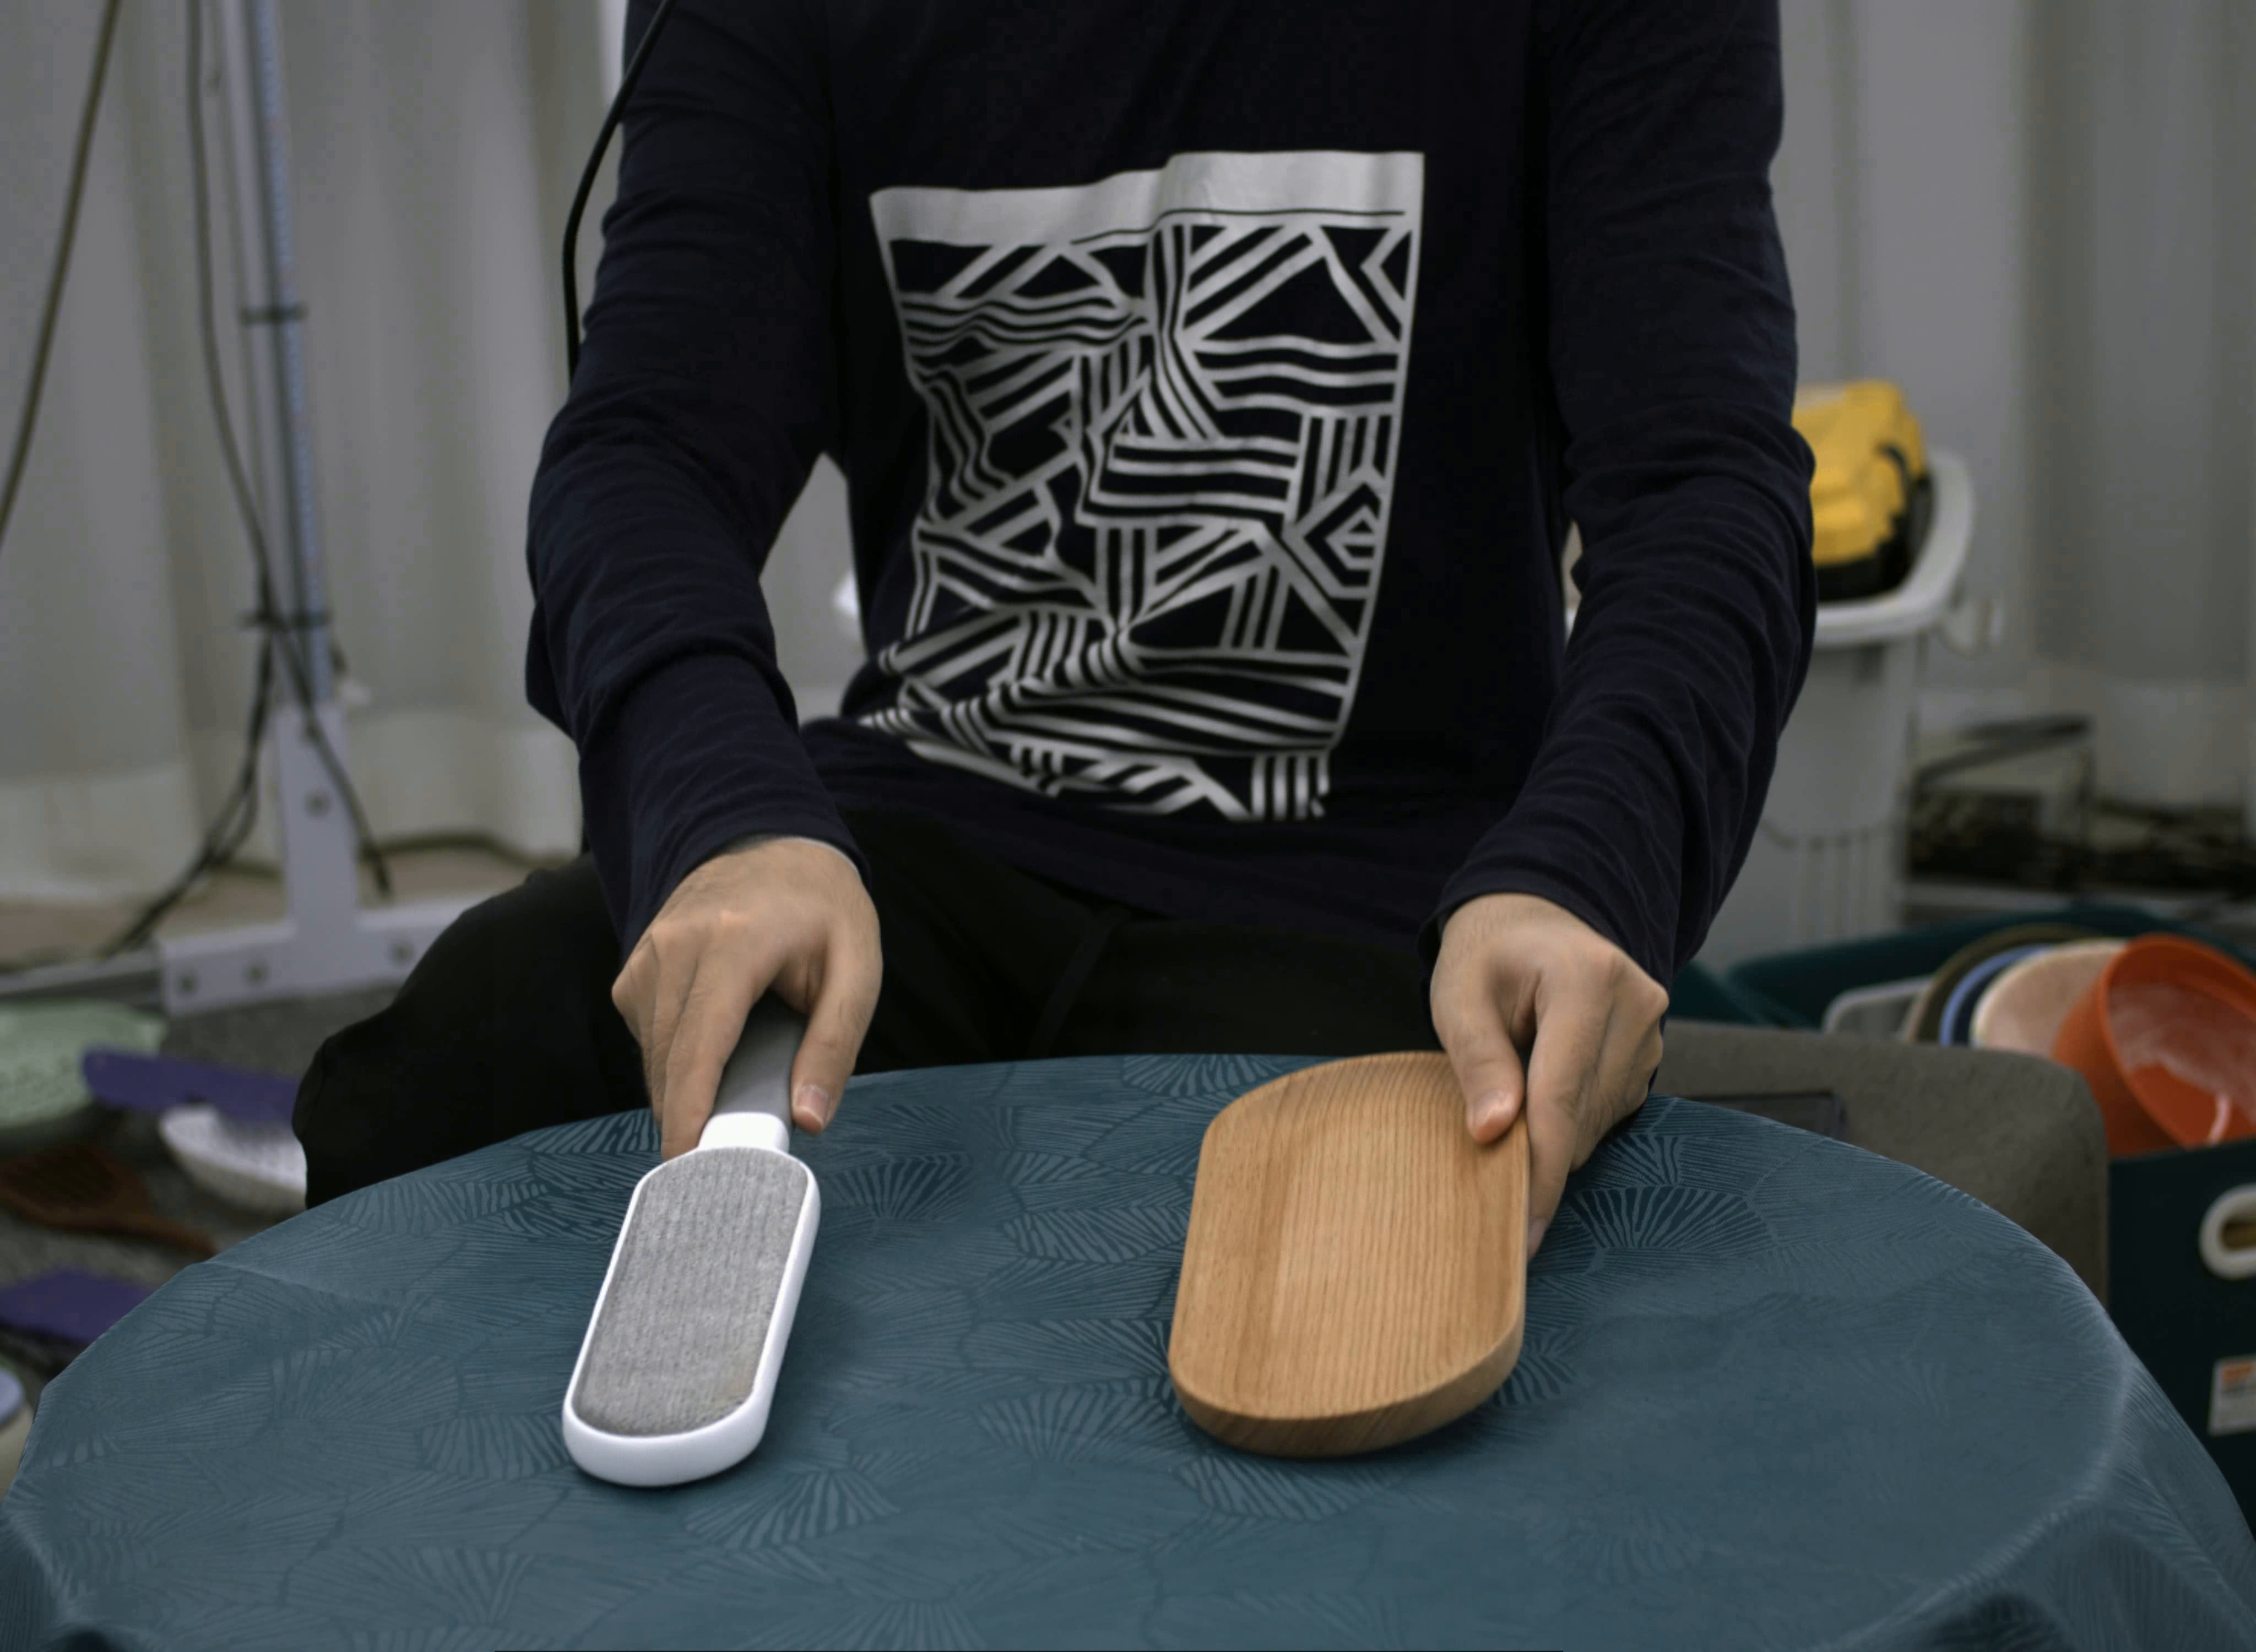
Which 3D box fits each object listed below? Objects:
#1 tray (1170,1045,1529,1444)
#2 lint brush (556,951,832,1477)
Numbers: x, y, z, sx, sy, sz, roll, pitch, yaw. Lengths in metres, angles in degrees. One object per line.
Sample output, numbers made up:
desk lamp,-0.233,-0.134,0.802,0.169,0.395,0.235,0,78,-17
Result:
tray,0.066,0.119,1.589,0.101,0.020,0.233,-7,20,7
lint brush,-0.118,0.109,1.626,0.060,0.021,0.312,-8,23,8
